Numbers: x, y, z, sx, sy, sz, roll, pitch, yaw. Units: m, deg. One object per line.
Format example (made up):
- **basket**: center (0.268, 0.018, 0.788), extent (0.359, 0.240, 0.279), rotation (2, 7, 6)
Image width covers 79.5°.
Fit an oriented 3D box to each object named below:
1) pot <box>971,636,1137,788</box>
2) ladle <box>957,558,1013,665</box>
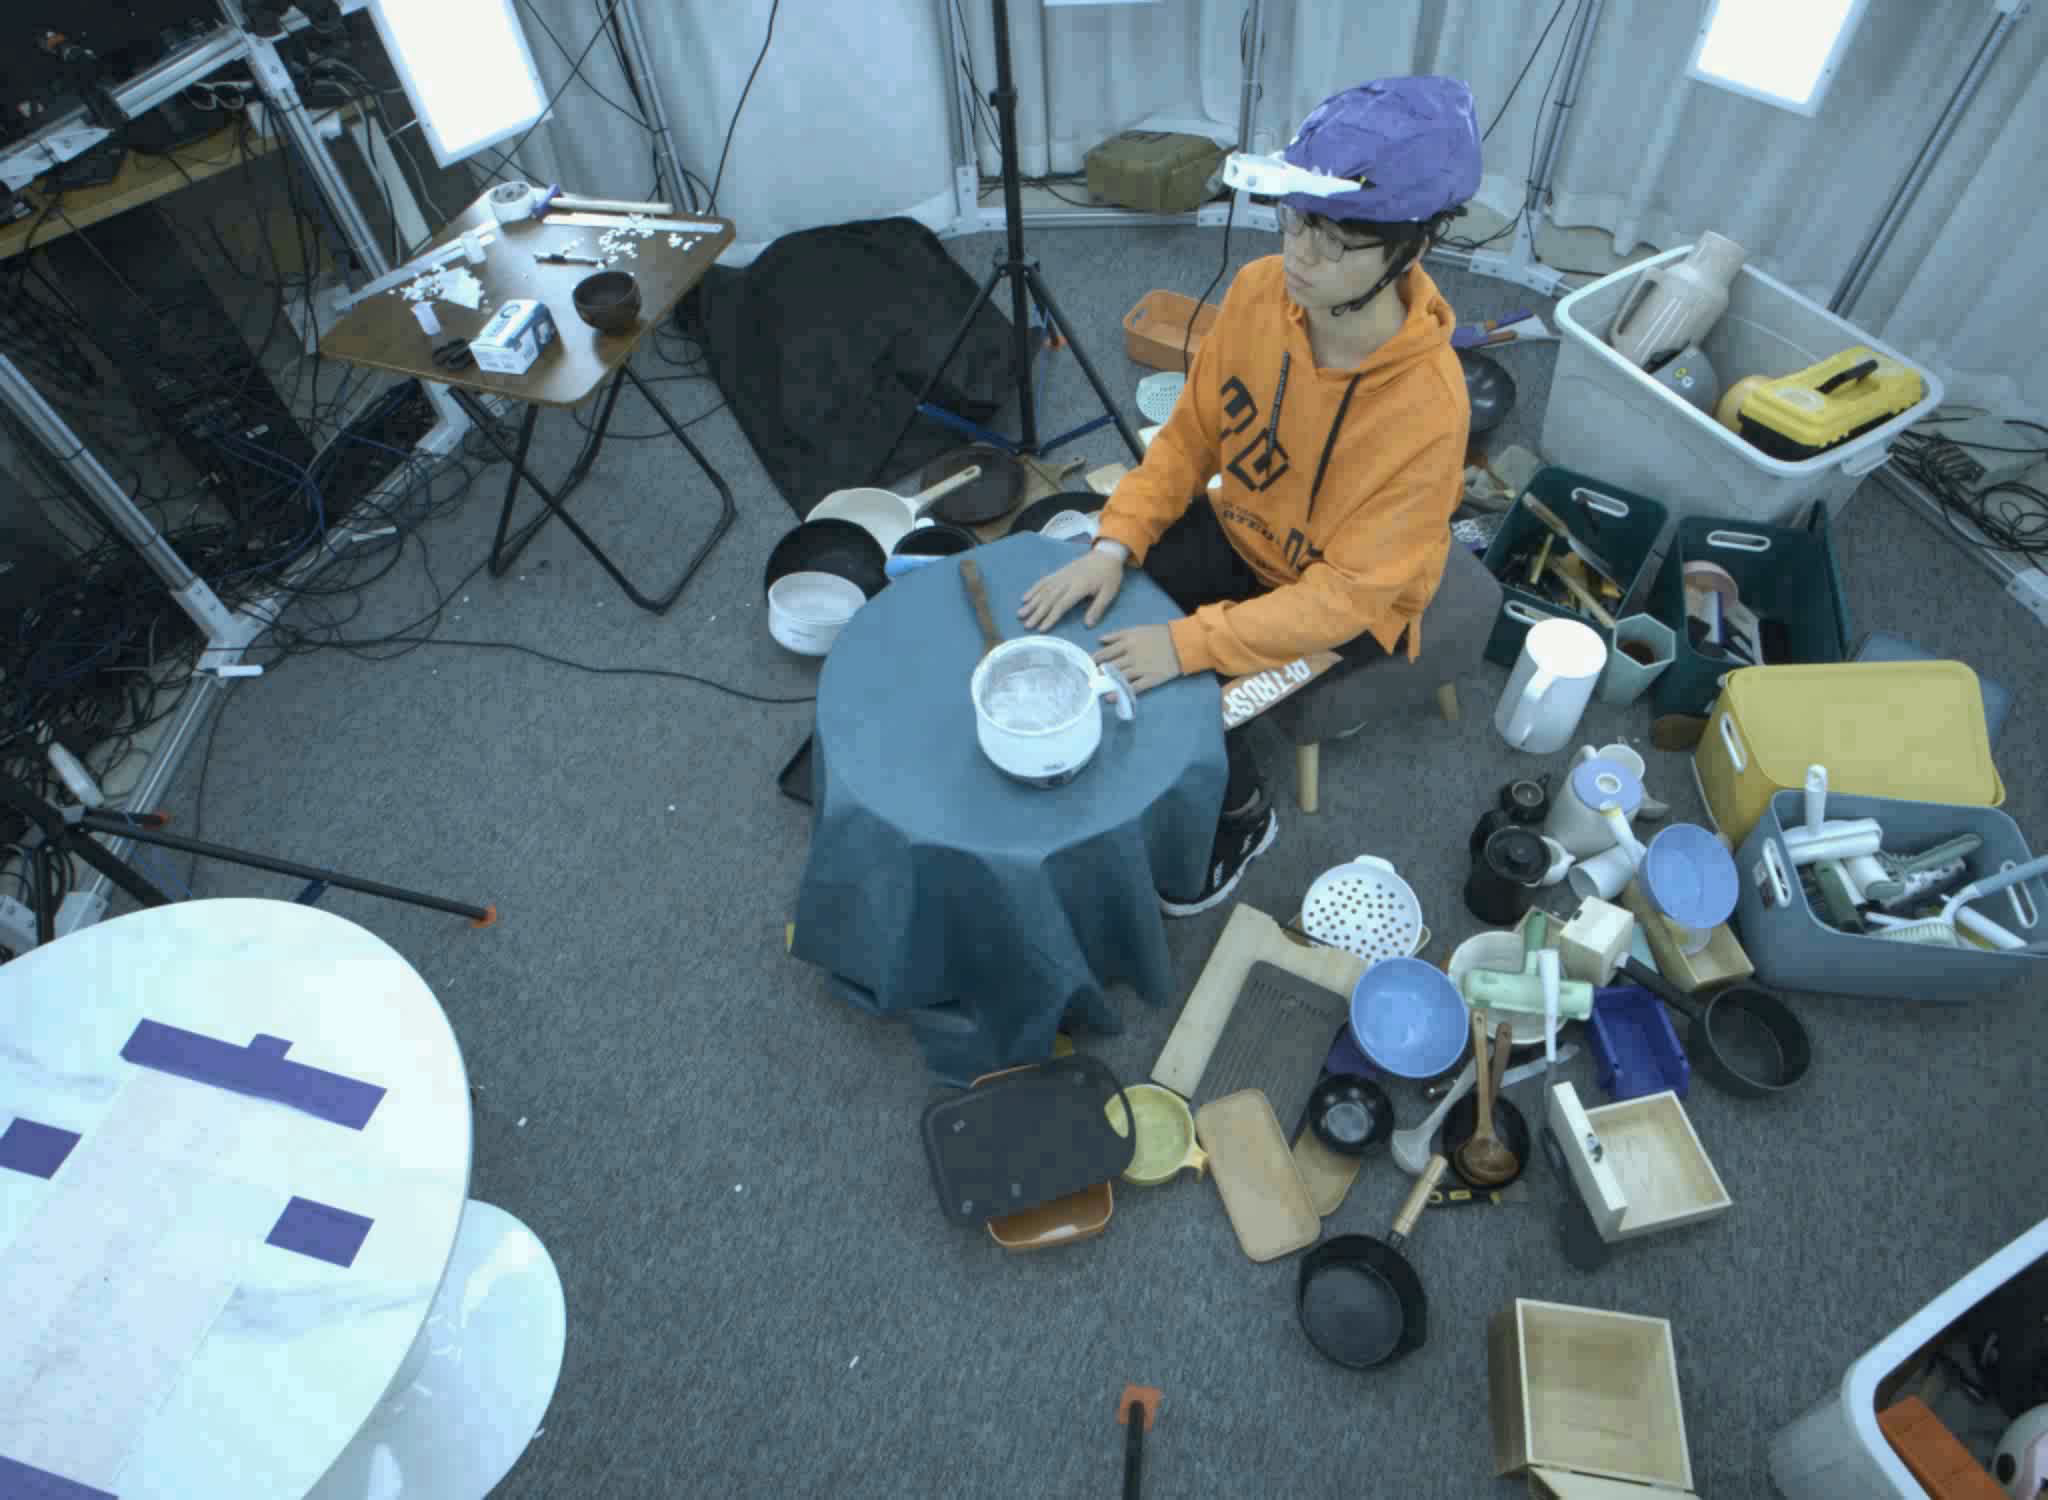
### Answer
- **pot**: center (0.046, -0.060, 1.743), extent (0.235, 0.138, 0.176), rotation (-15, 56, -7)
- **ladle**: center (-0.064, -0.226, 1.906), extent (0.076, 0.072, 0.270), rotation (-13, 56, -9)
